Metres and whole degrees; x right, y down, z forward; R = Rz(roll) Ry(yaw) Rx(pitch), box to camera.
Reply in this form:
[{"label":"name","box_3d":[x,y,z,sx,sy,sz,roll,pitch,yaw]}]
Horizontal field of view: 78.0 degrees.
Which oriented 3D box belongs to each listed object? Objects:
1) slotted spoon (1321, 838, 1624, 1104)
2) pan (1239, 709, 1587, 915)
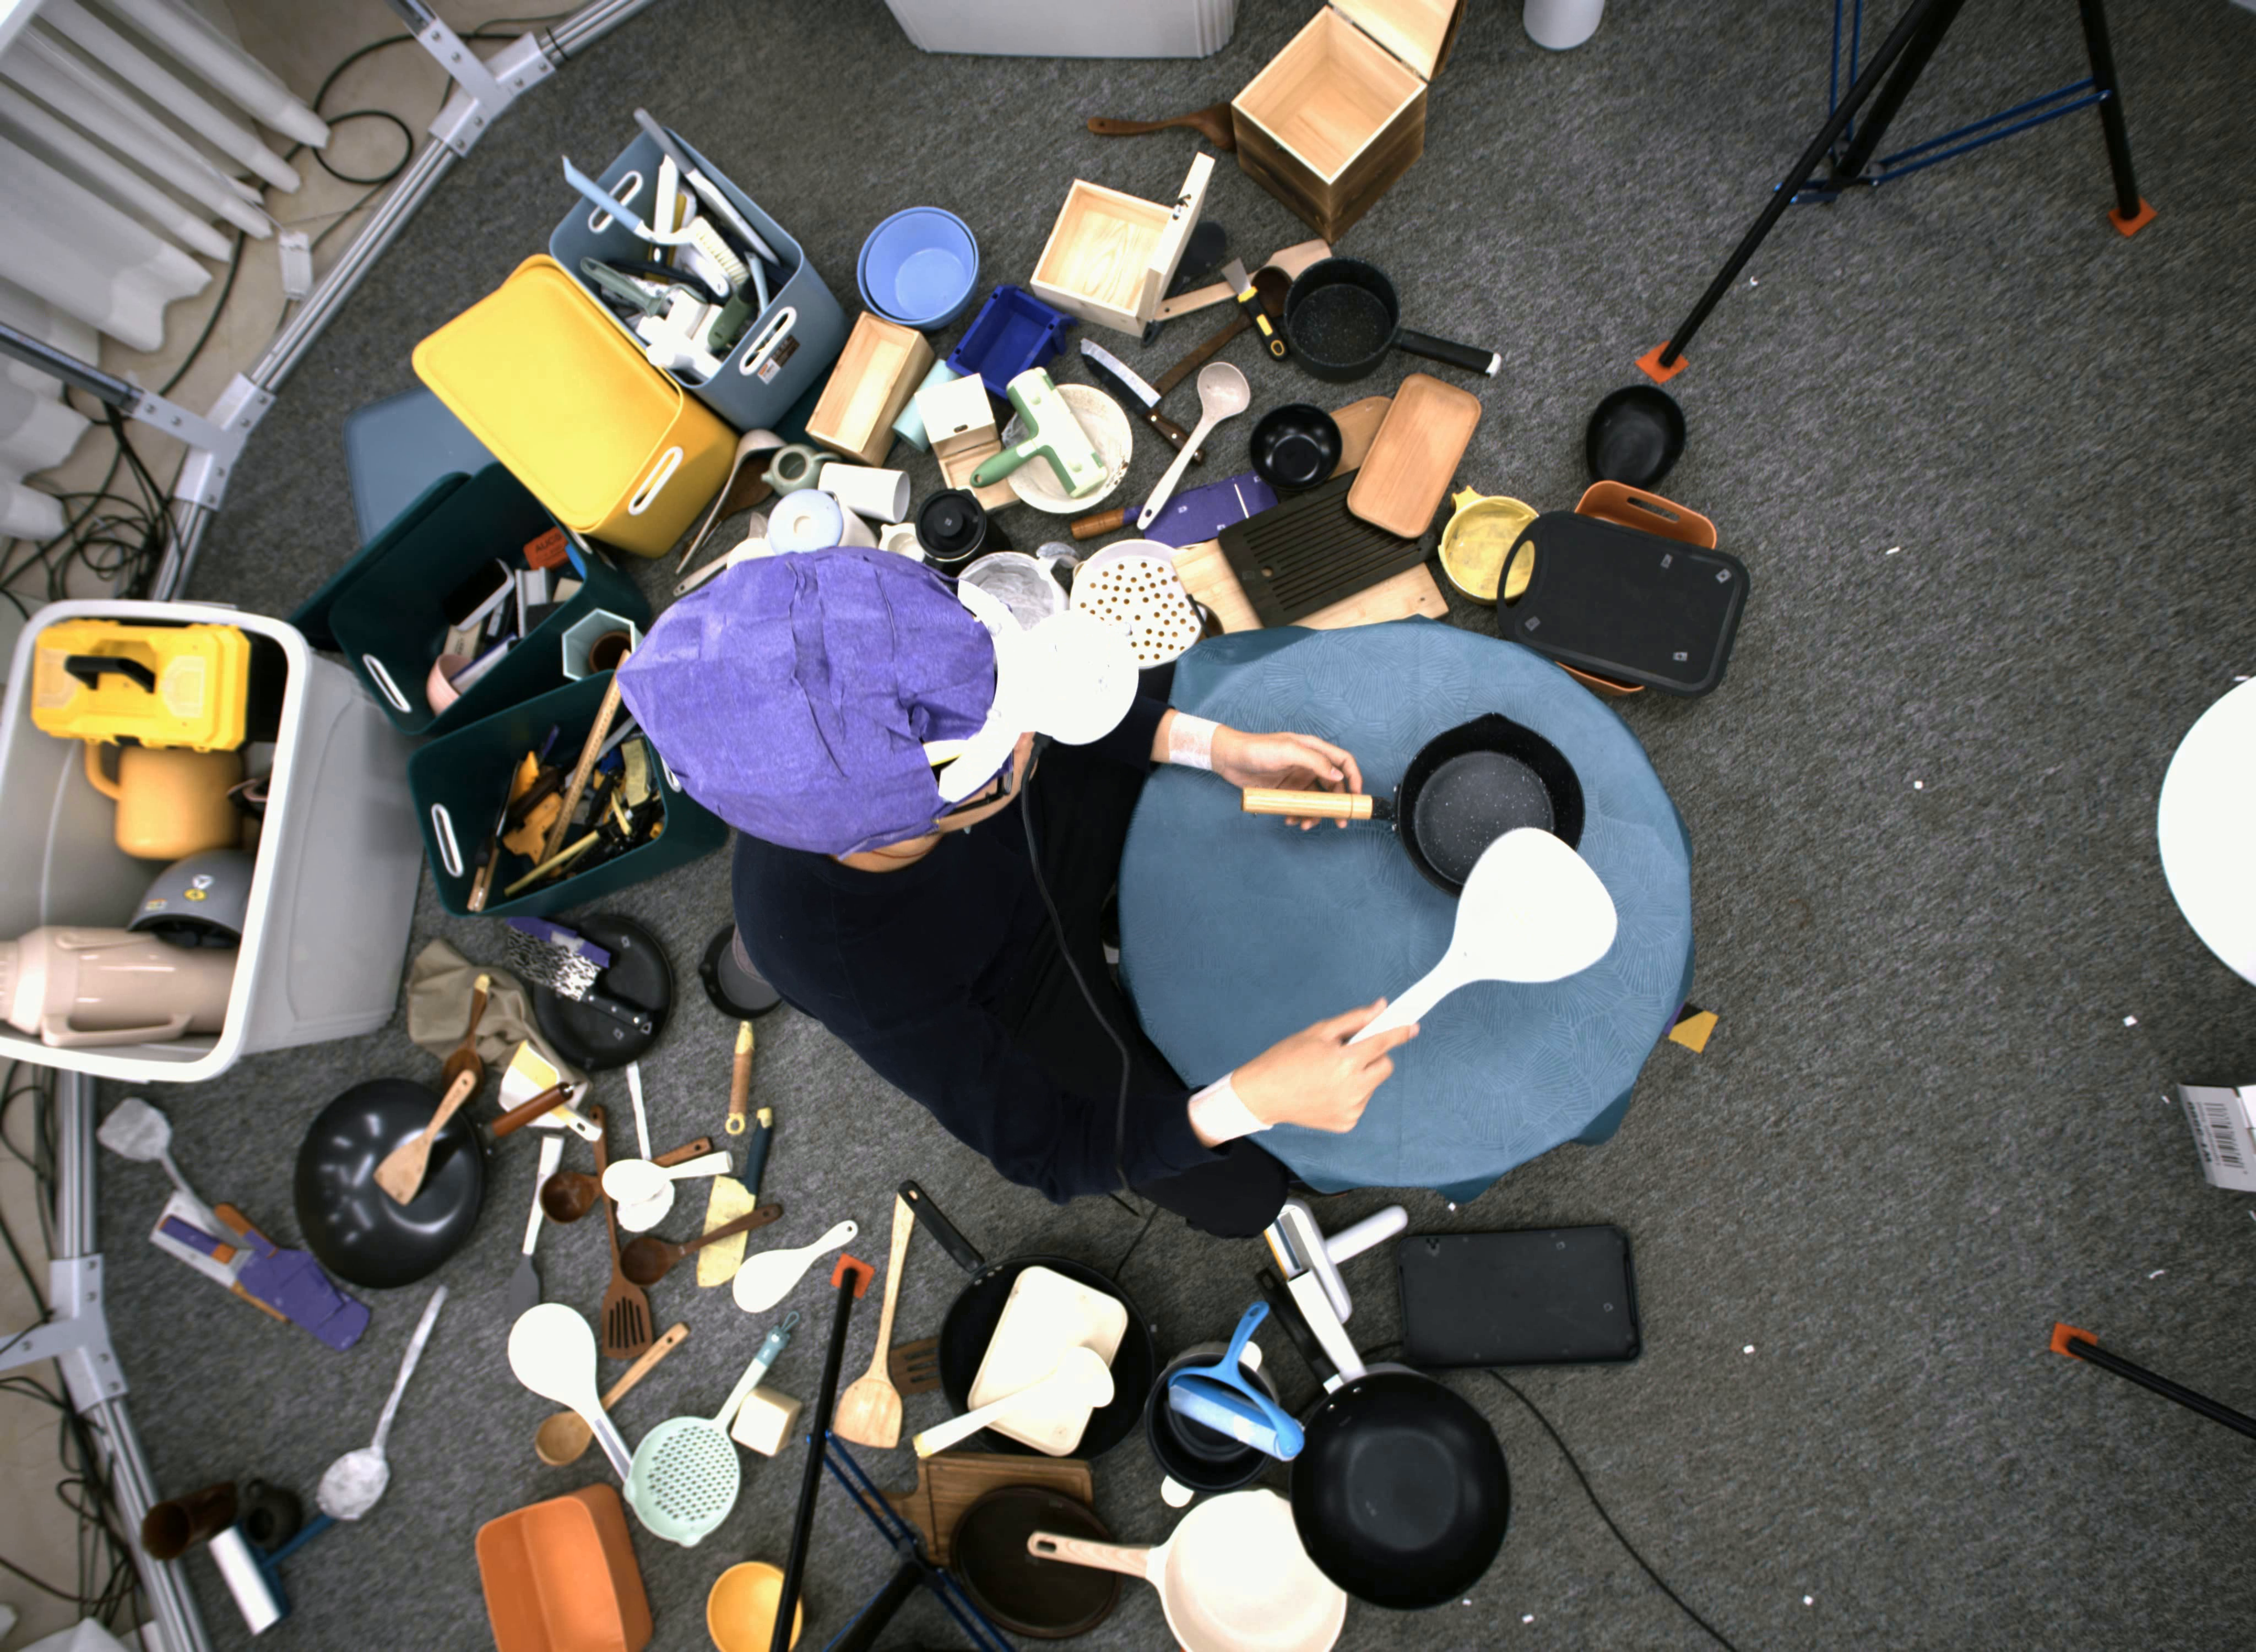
[{"label":"slotted spoon","box_3d":[0.302,0.134,1.233,0.343,0.051,0.136,-32,79,-24]},{"label":"pan","box_3d":[0.286,-0.015,1.407,0.344,0.108,0.207,1,88,9]}]
